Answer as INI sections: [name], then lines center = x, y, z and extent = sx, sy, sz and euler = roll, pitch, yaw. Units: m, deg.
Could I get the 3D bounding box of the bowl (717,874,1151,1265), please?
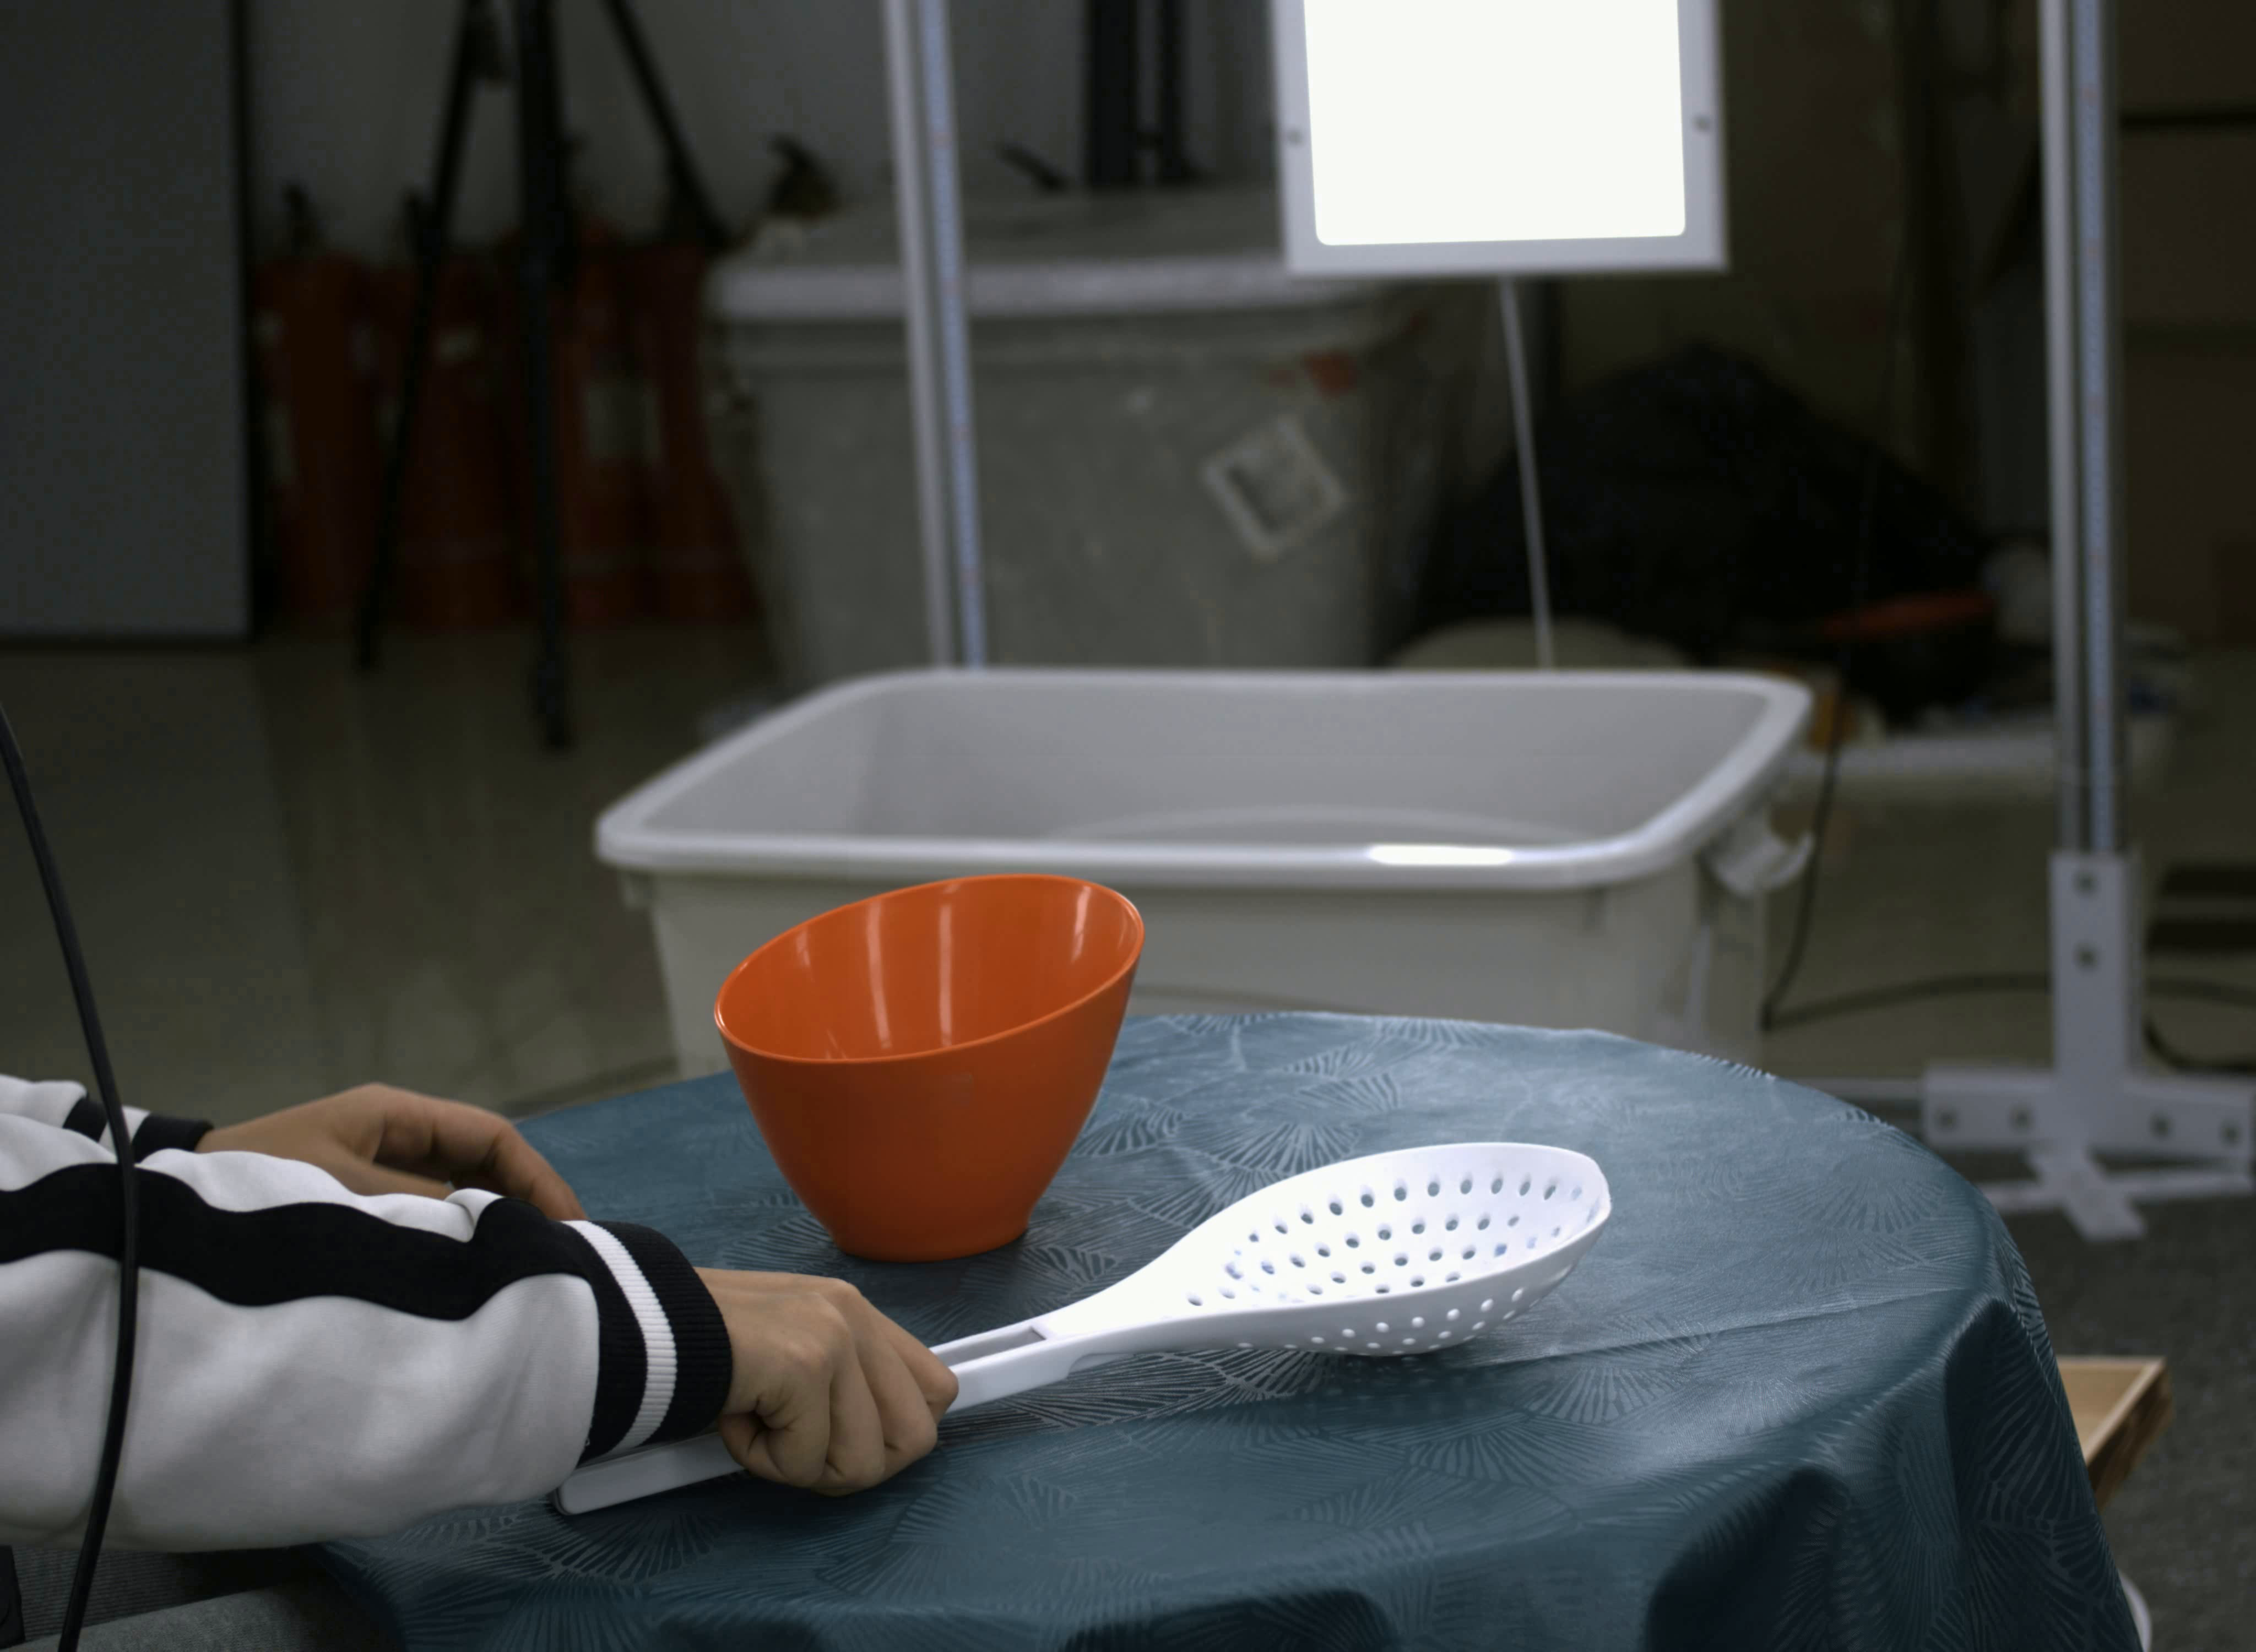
[bowl]
center = -0.064, 0.086, 1.869
extent = 0.147, 0.105, 0.148
euler = -3, 16, 0

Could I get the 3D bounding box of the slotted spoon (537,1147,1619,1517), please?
[slotted spoon]
center = -0.012, 0.156, 1.689
extent = 0.344, 0.046, 0.138
euler = -10, 12, -16
